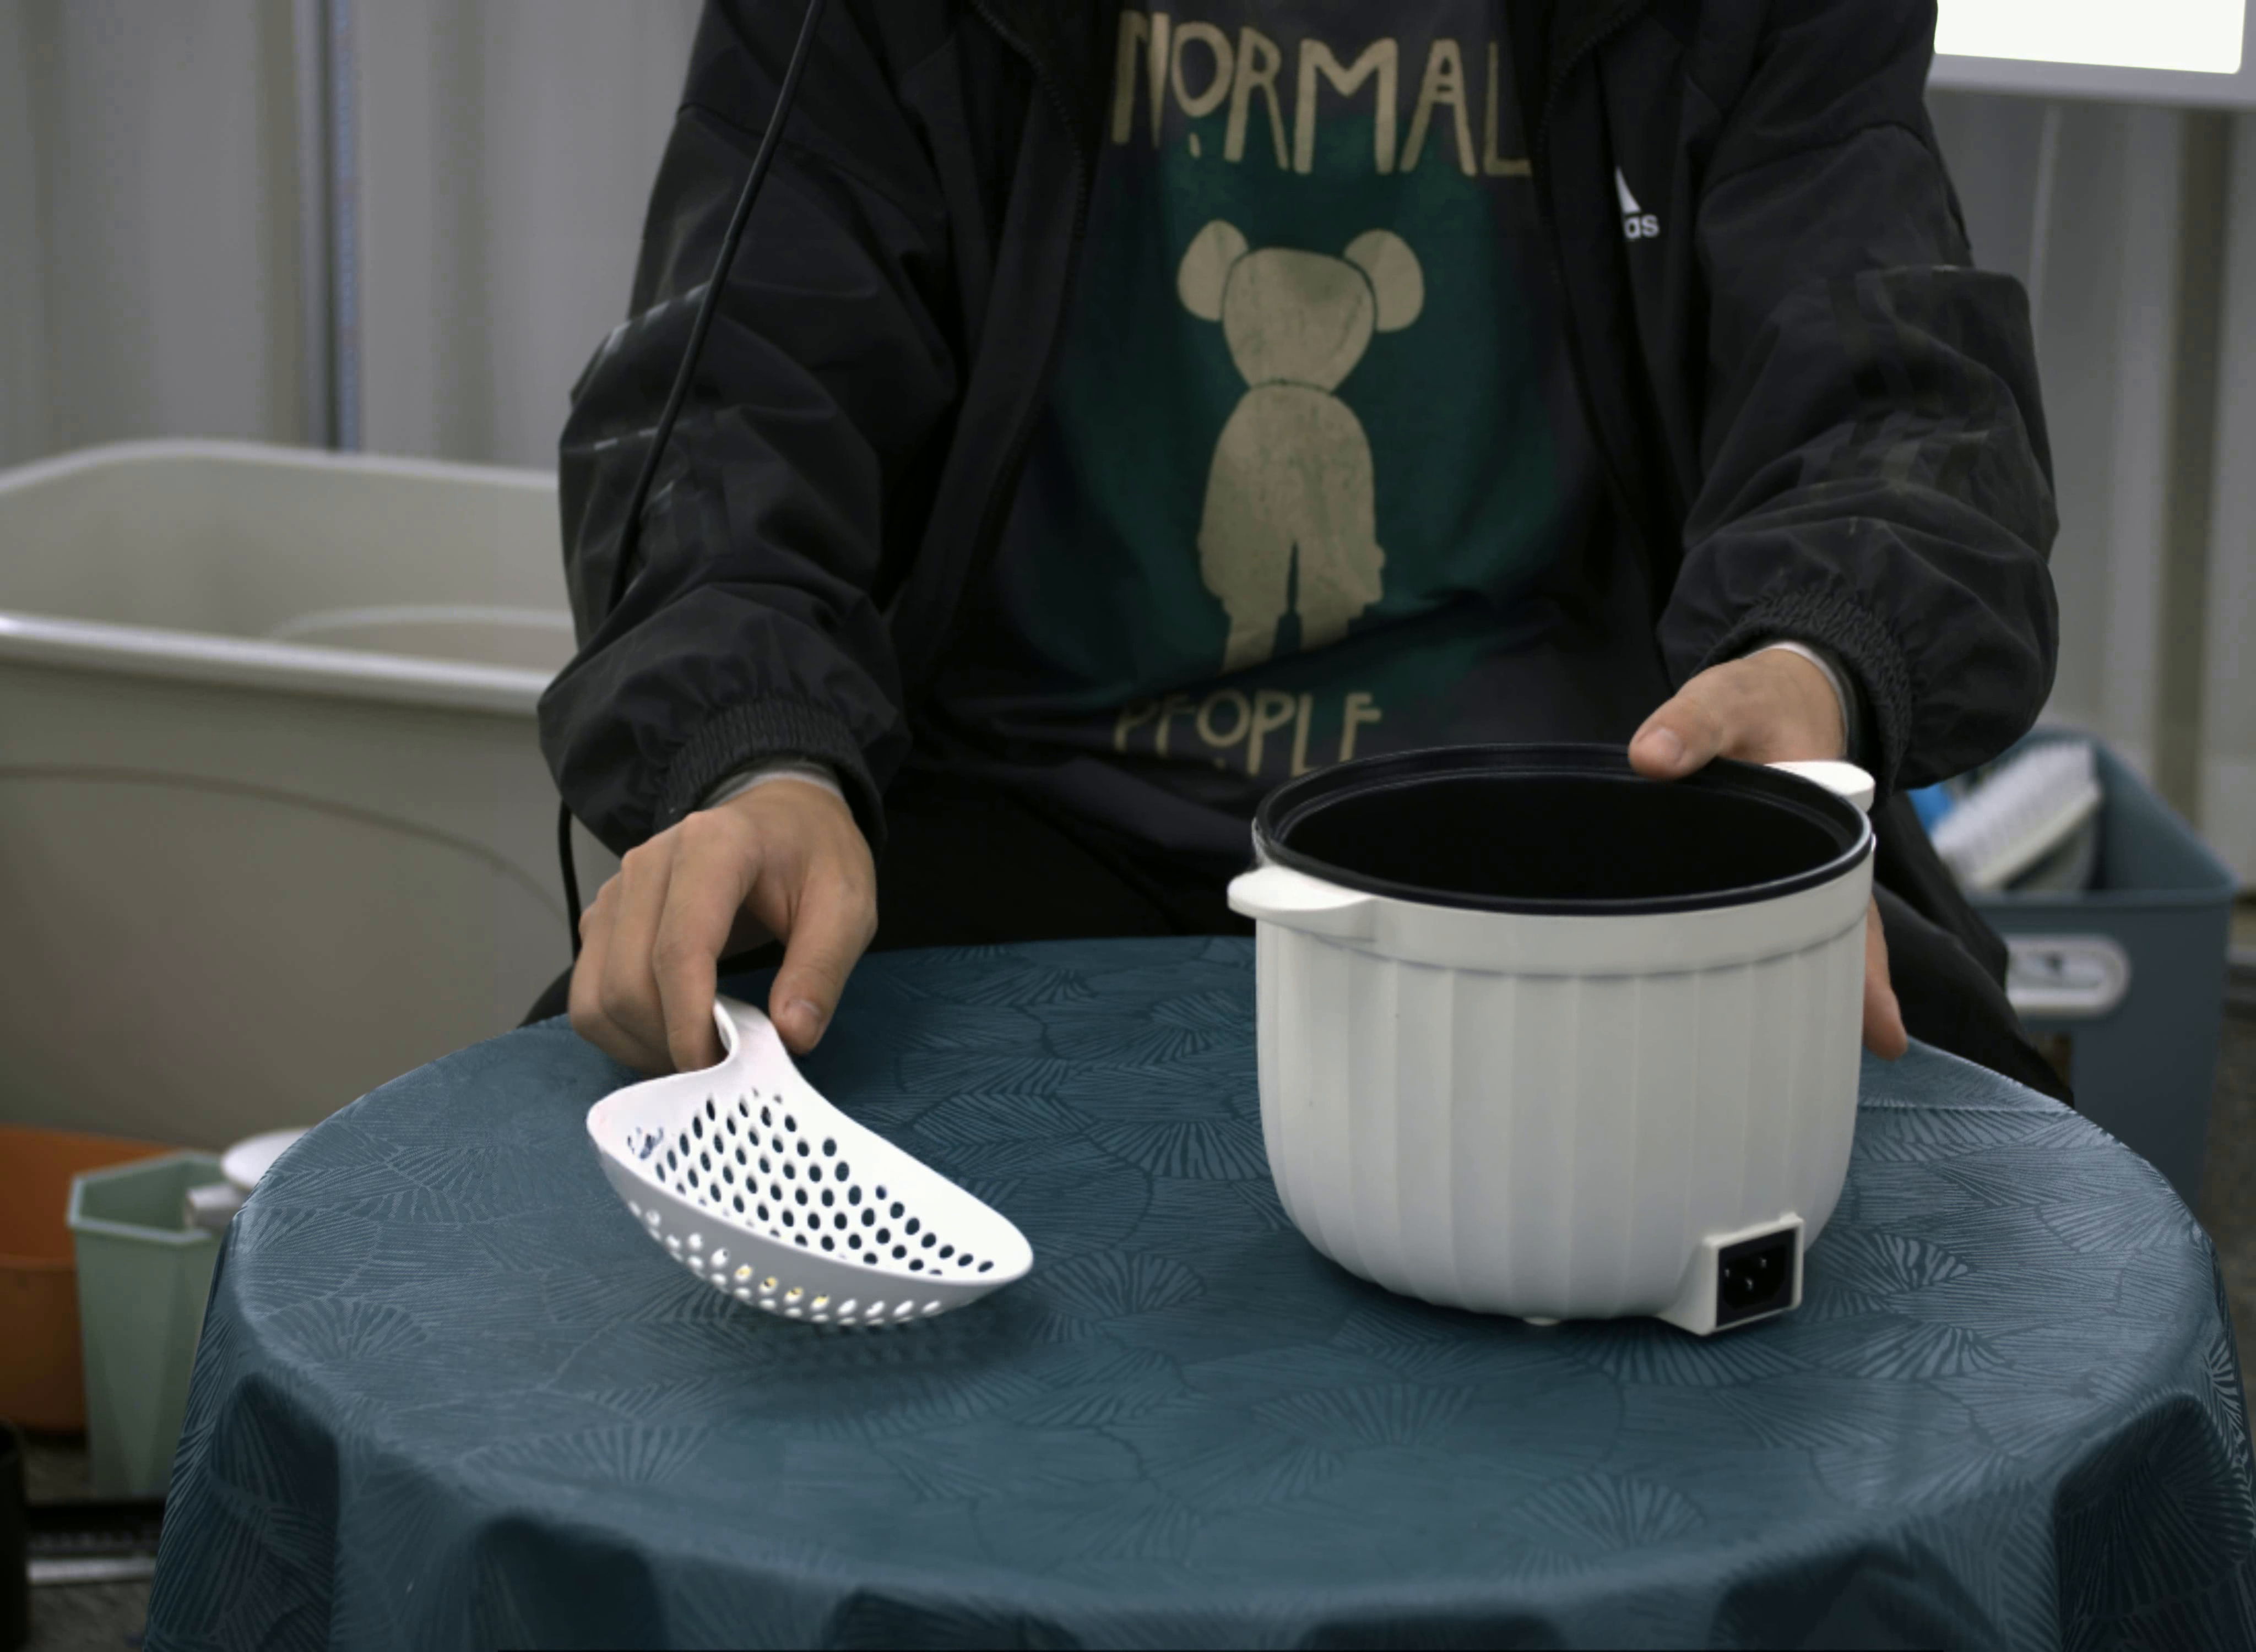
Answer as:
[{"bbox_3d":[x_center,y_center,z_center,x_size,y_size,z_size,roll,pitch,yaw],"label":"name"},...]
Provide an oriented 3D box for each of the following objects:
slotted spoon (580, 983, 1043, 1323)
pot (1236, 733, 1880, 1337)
[{"bbox_3d":[-0.114,0.087,1.614,0.137,0.050,0.345,14,14,-14],"label":"slotted spoon"},{"bbox_3d":[0.123,0.060,1.557,0.241,0.144,0.188,-10,22,-37],"label":"pot"}]
